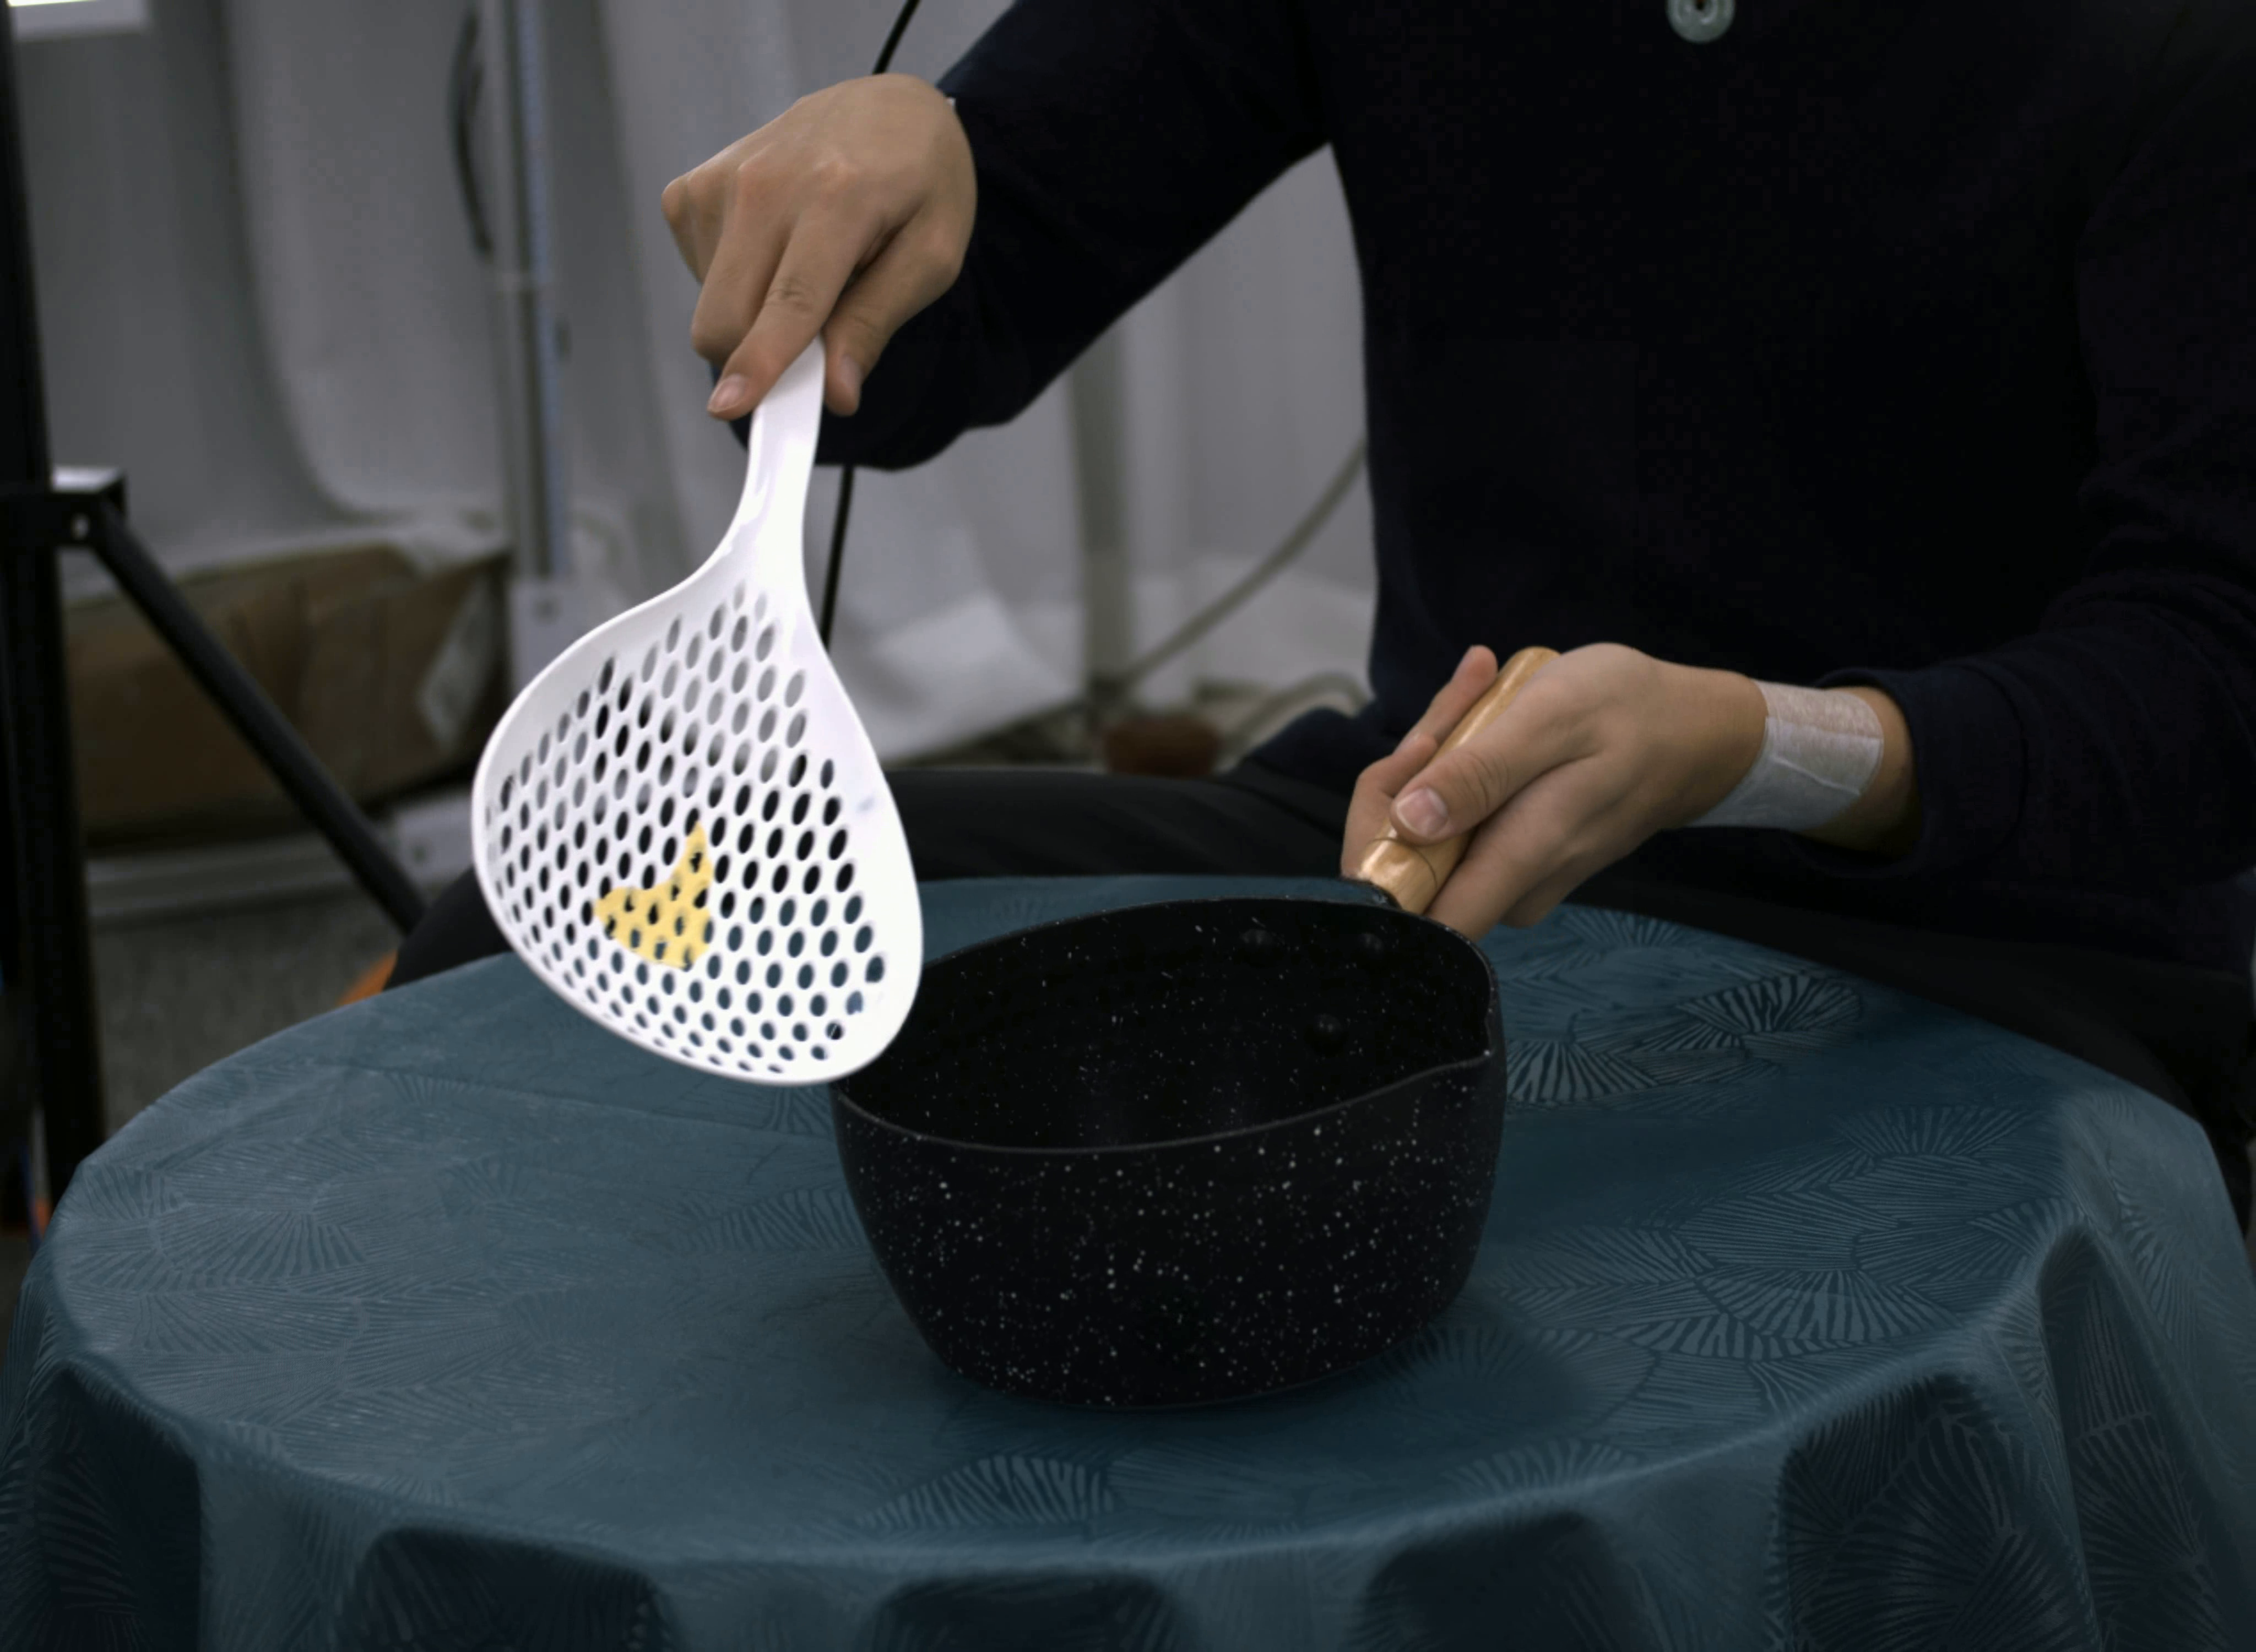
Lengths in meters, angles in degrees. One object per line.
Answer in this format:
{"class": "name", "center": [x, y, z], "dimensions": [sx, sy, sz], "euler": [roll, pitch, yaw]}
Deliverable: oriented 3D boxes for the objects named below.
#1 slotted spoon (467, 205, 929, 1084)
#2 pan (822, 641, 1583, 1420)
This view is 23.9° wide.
{"class": "slotted spoon", "center": [-0.114, -0.063, 1.518], "dimensions": [0.134, 0.051, 0.350], "euler": [21, 48, -16]}
{"class": "pan", "center": [0.050, 0.053, 1.500], "dimensions": [0.211, 0.108, 0.338], "euler": [2, 22, 30]}
